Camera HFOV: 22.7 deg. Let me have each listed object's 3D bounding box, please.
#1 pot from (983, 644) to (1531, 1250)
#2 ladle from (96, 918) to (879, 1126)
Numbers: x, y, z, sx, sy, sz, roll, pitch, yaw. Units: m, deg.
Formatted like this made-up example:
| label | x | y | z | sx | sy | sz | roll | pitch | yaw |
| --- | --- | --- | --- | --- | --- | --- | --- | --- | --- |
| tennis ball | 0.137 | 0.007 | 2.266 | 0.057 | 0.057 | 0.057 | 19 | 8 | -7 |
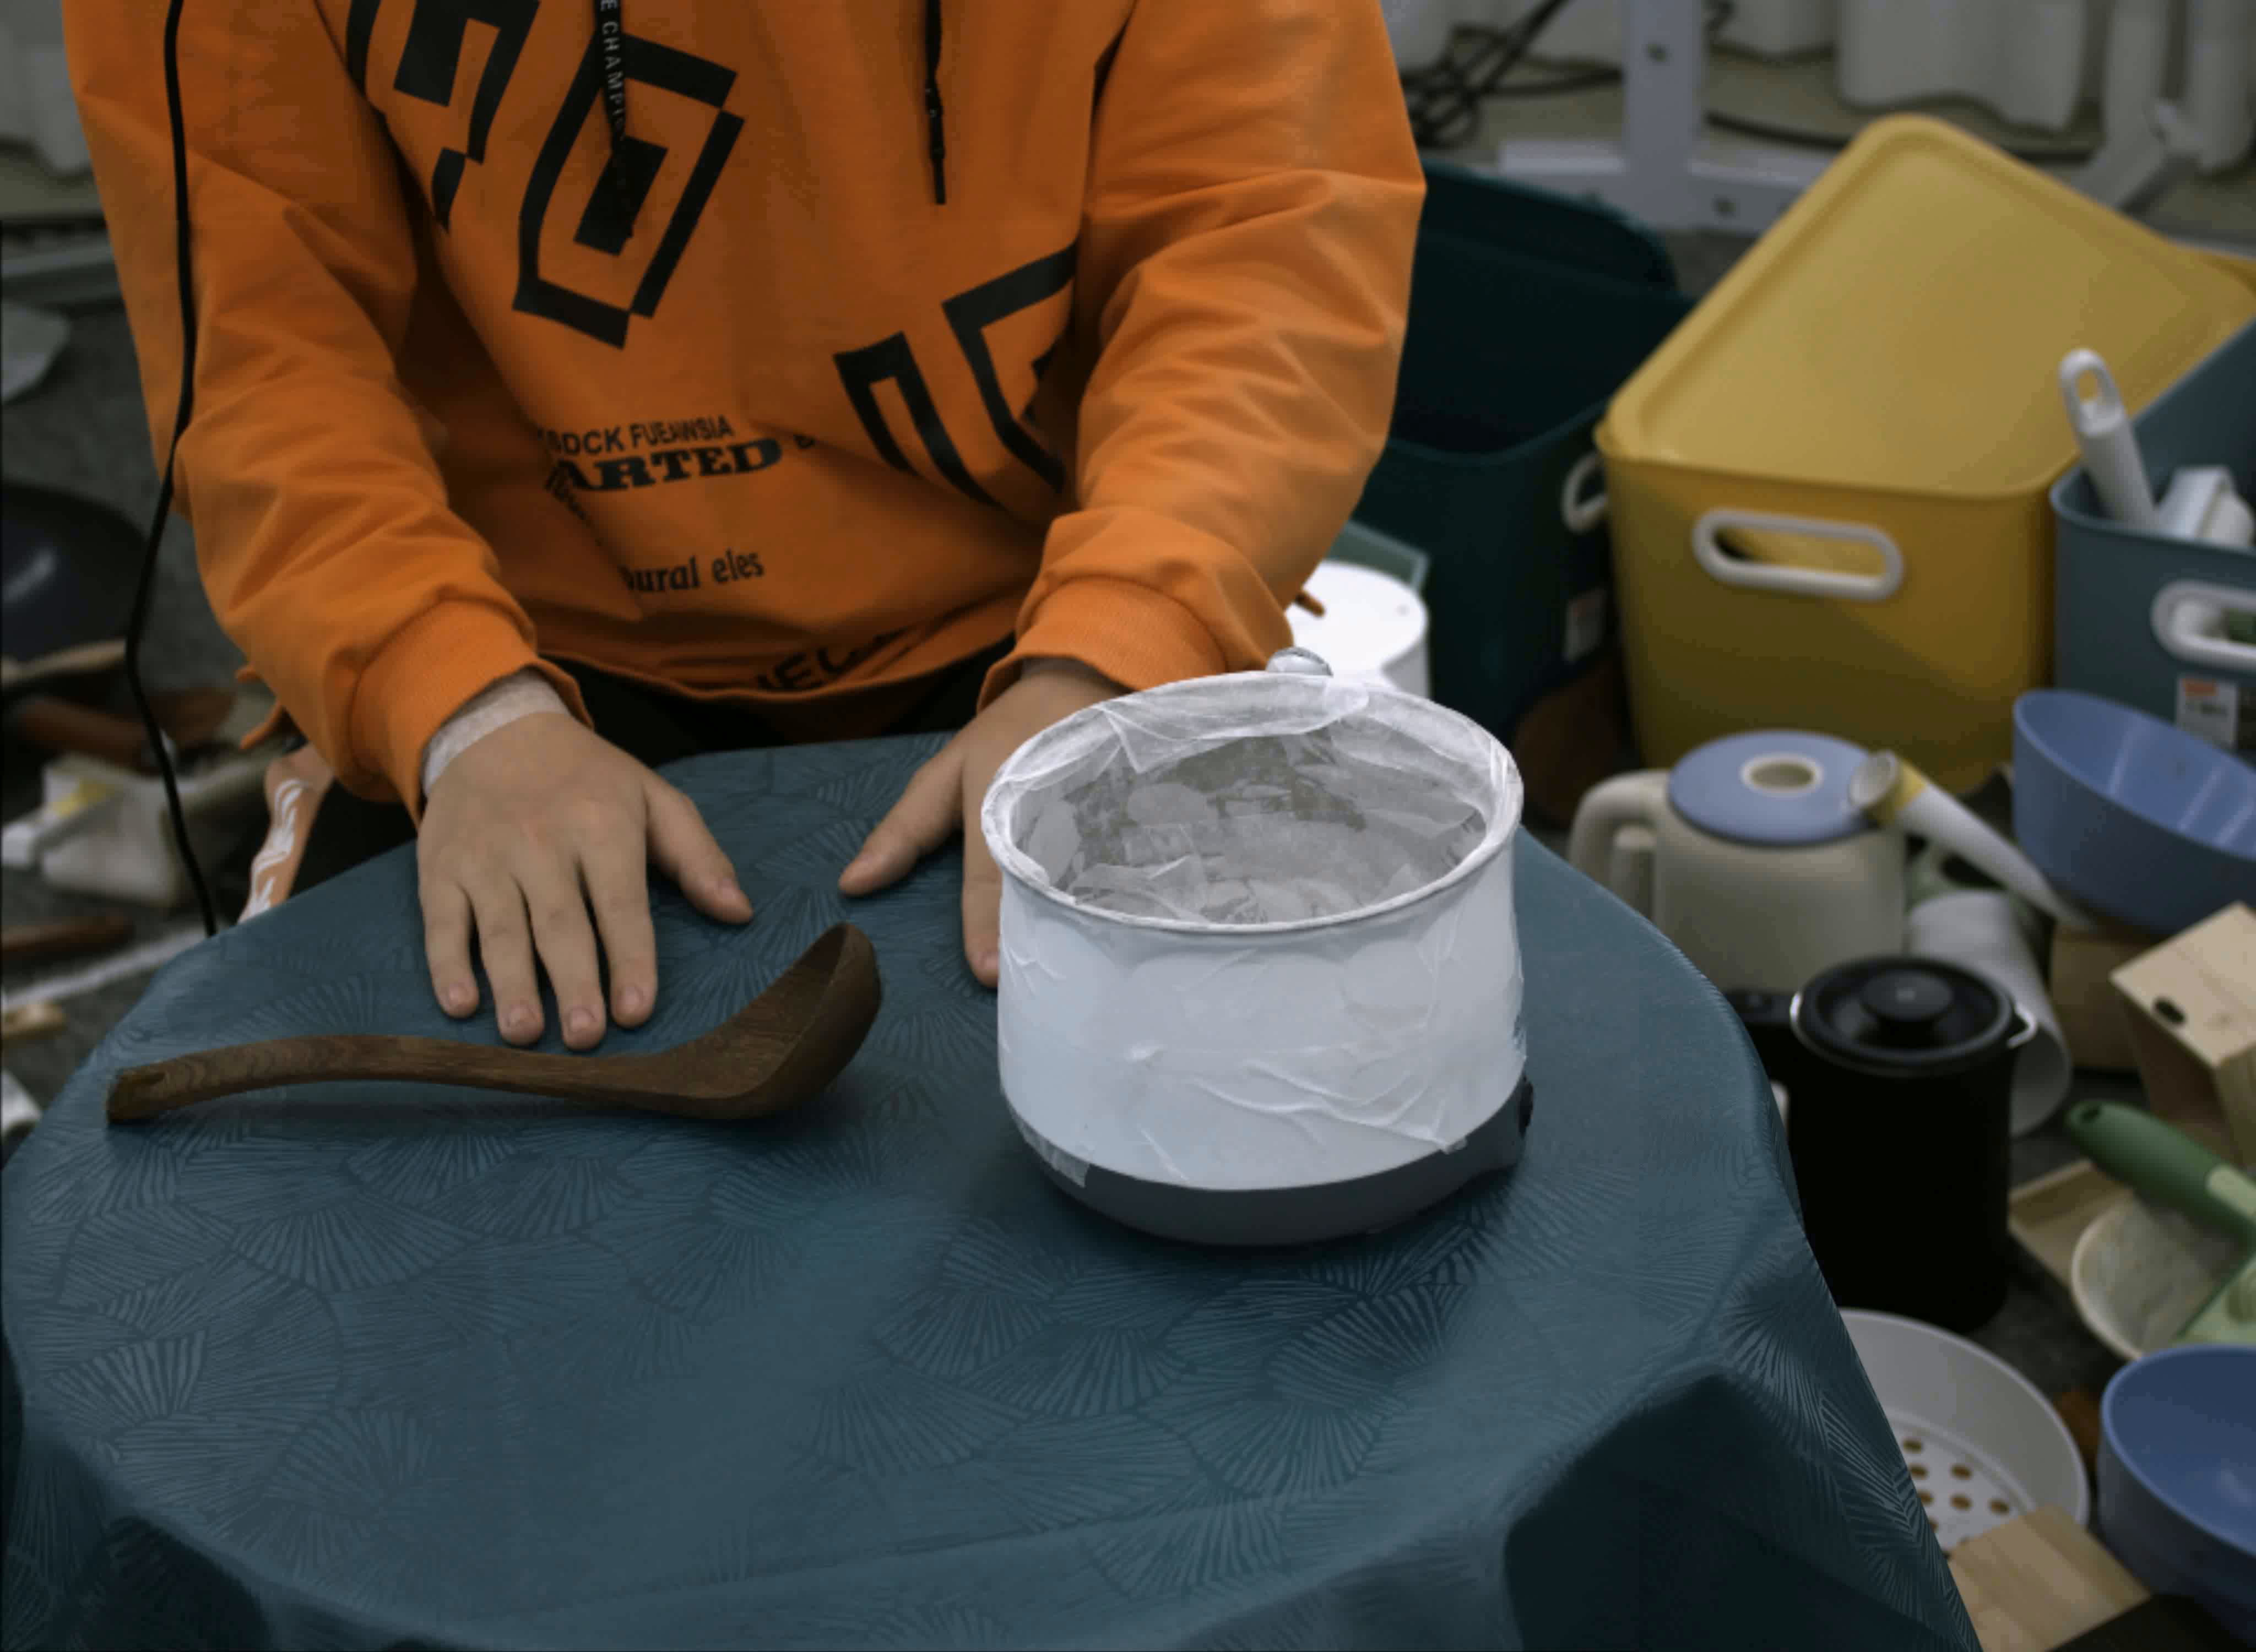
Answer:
| label | x | y | z | sx | sy | sz | roll | pitch | yaw |
| --- | --- | --- | --- | --- | --- | --- | --- | --- | --- |
| pot | 0.047 | 0.033 | 1.881 | 0.177 | 0.135 | 0.237 | 2 | 28 | 8 |
| ladle | -0.220 | 0.068 | 1.913 | 0.272 | 0.070 | 0.077 | 0 | 24 | 4 |
